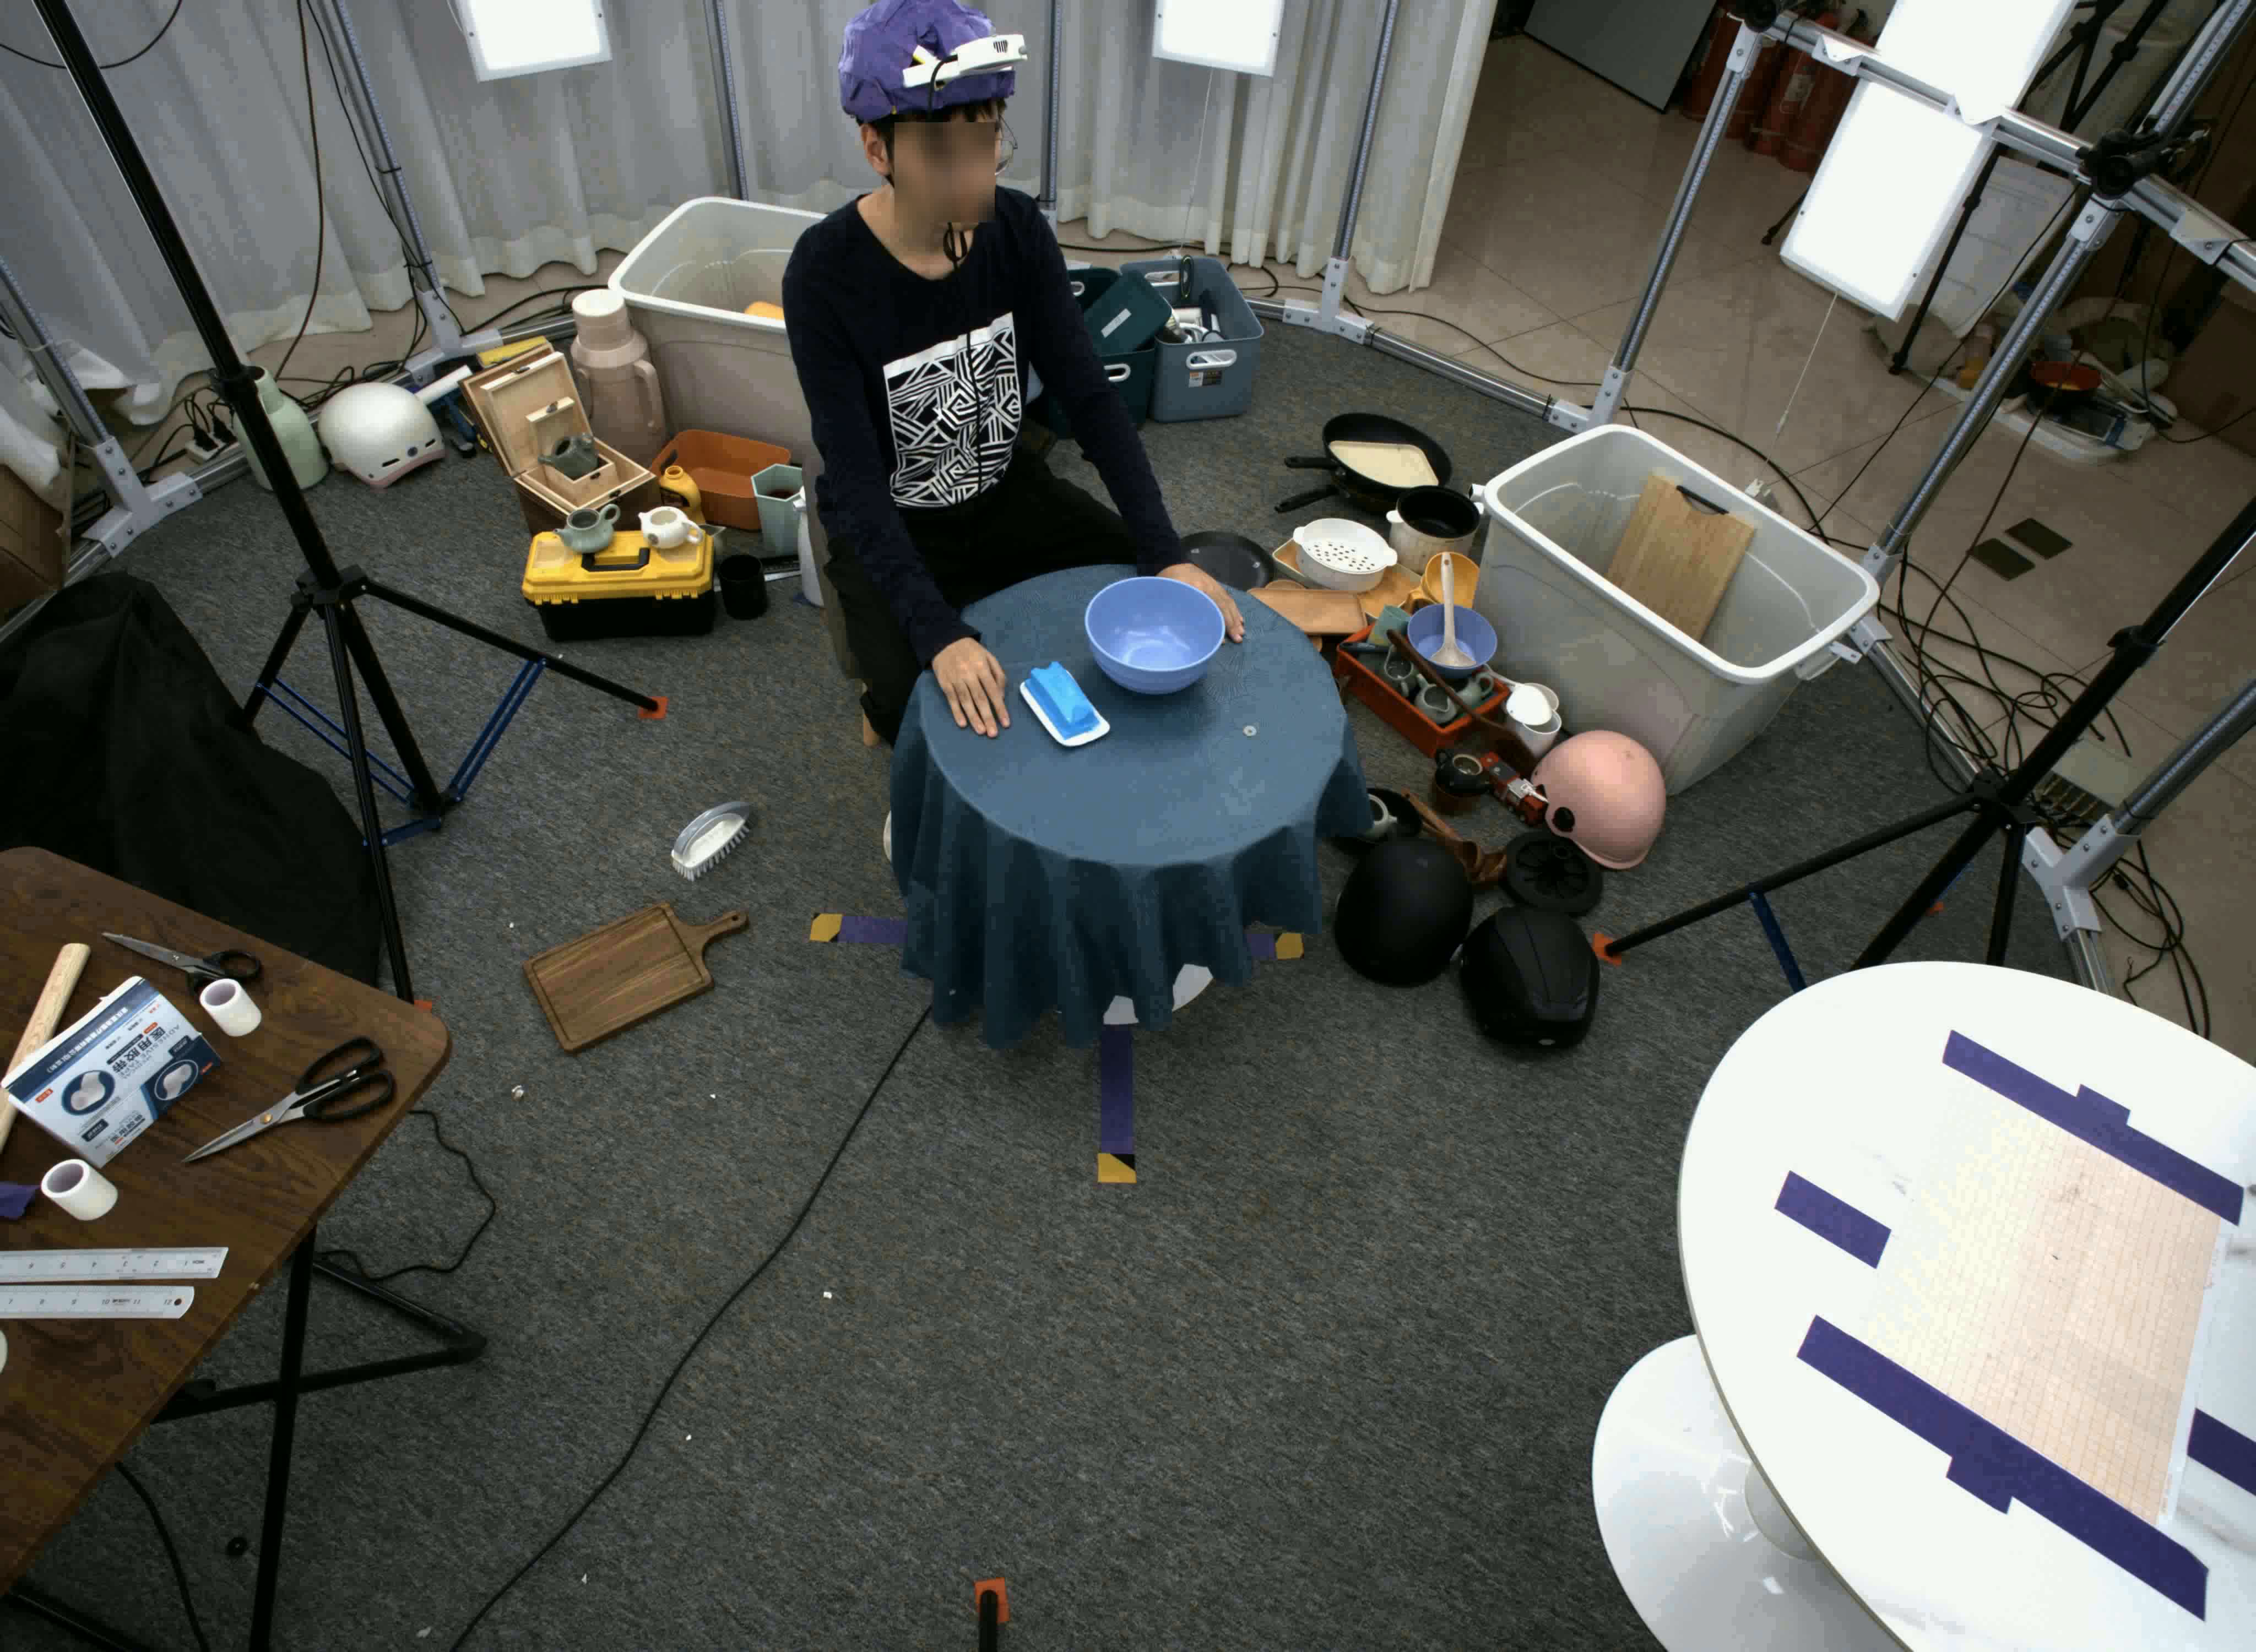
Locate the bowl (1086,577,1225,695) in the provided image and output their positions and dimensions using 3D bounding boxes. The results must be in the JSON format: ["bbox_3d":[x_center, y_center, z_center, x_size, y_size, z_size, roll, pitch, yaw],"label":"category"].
[{"bbox_3d":[0.036,-0.255,1.831,0.196,0.093,0.201,2,49,-3],"label":"bowl"}]

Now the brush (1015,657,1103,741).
[{"bbox_3d":[-0.094,-0.183,1.780,0.084,0.054,0.147,-18,55,-24],"label":"brush"}]
